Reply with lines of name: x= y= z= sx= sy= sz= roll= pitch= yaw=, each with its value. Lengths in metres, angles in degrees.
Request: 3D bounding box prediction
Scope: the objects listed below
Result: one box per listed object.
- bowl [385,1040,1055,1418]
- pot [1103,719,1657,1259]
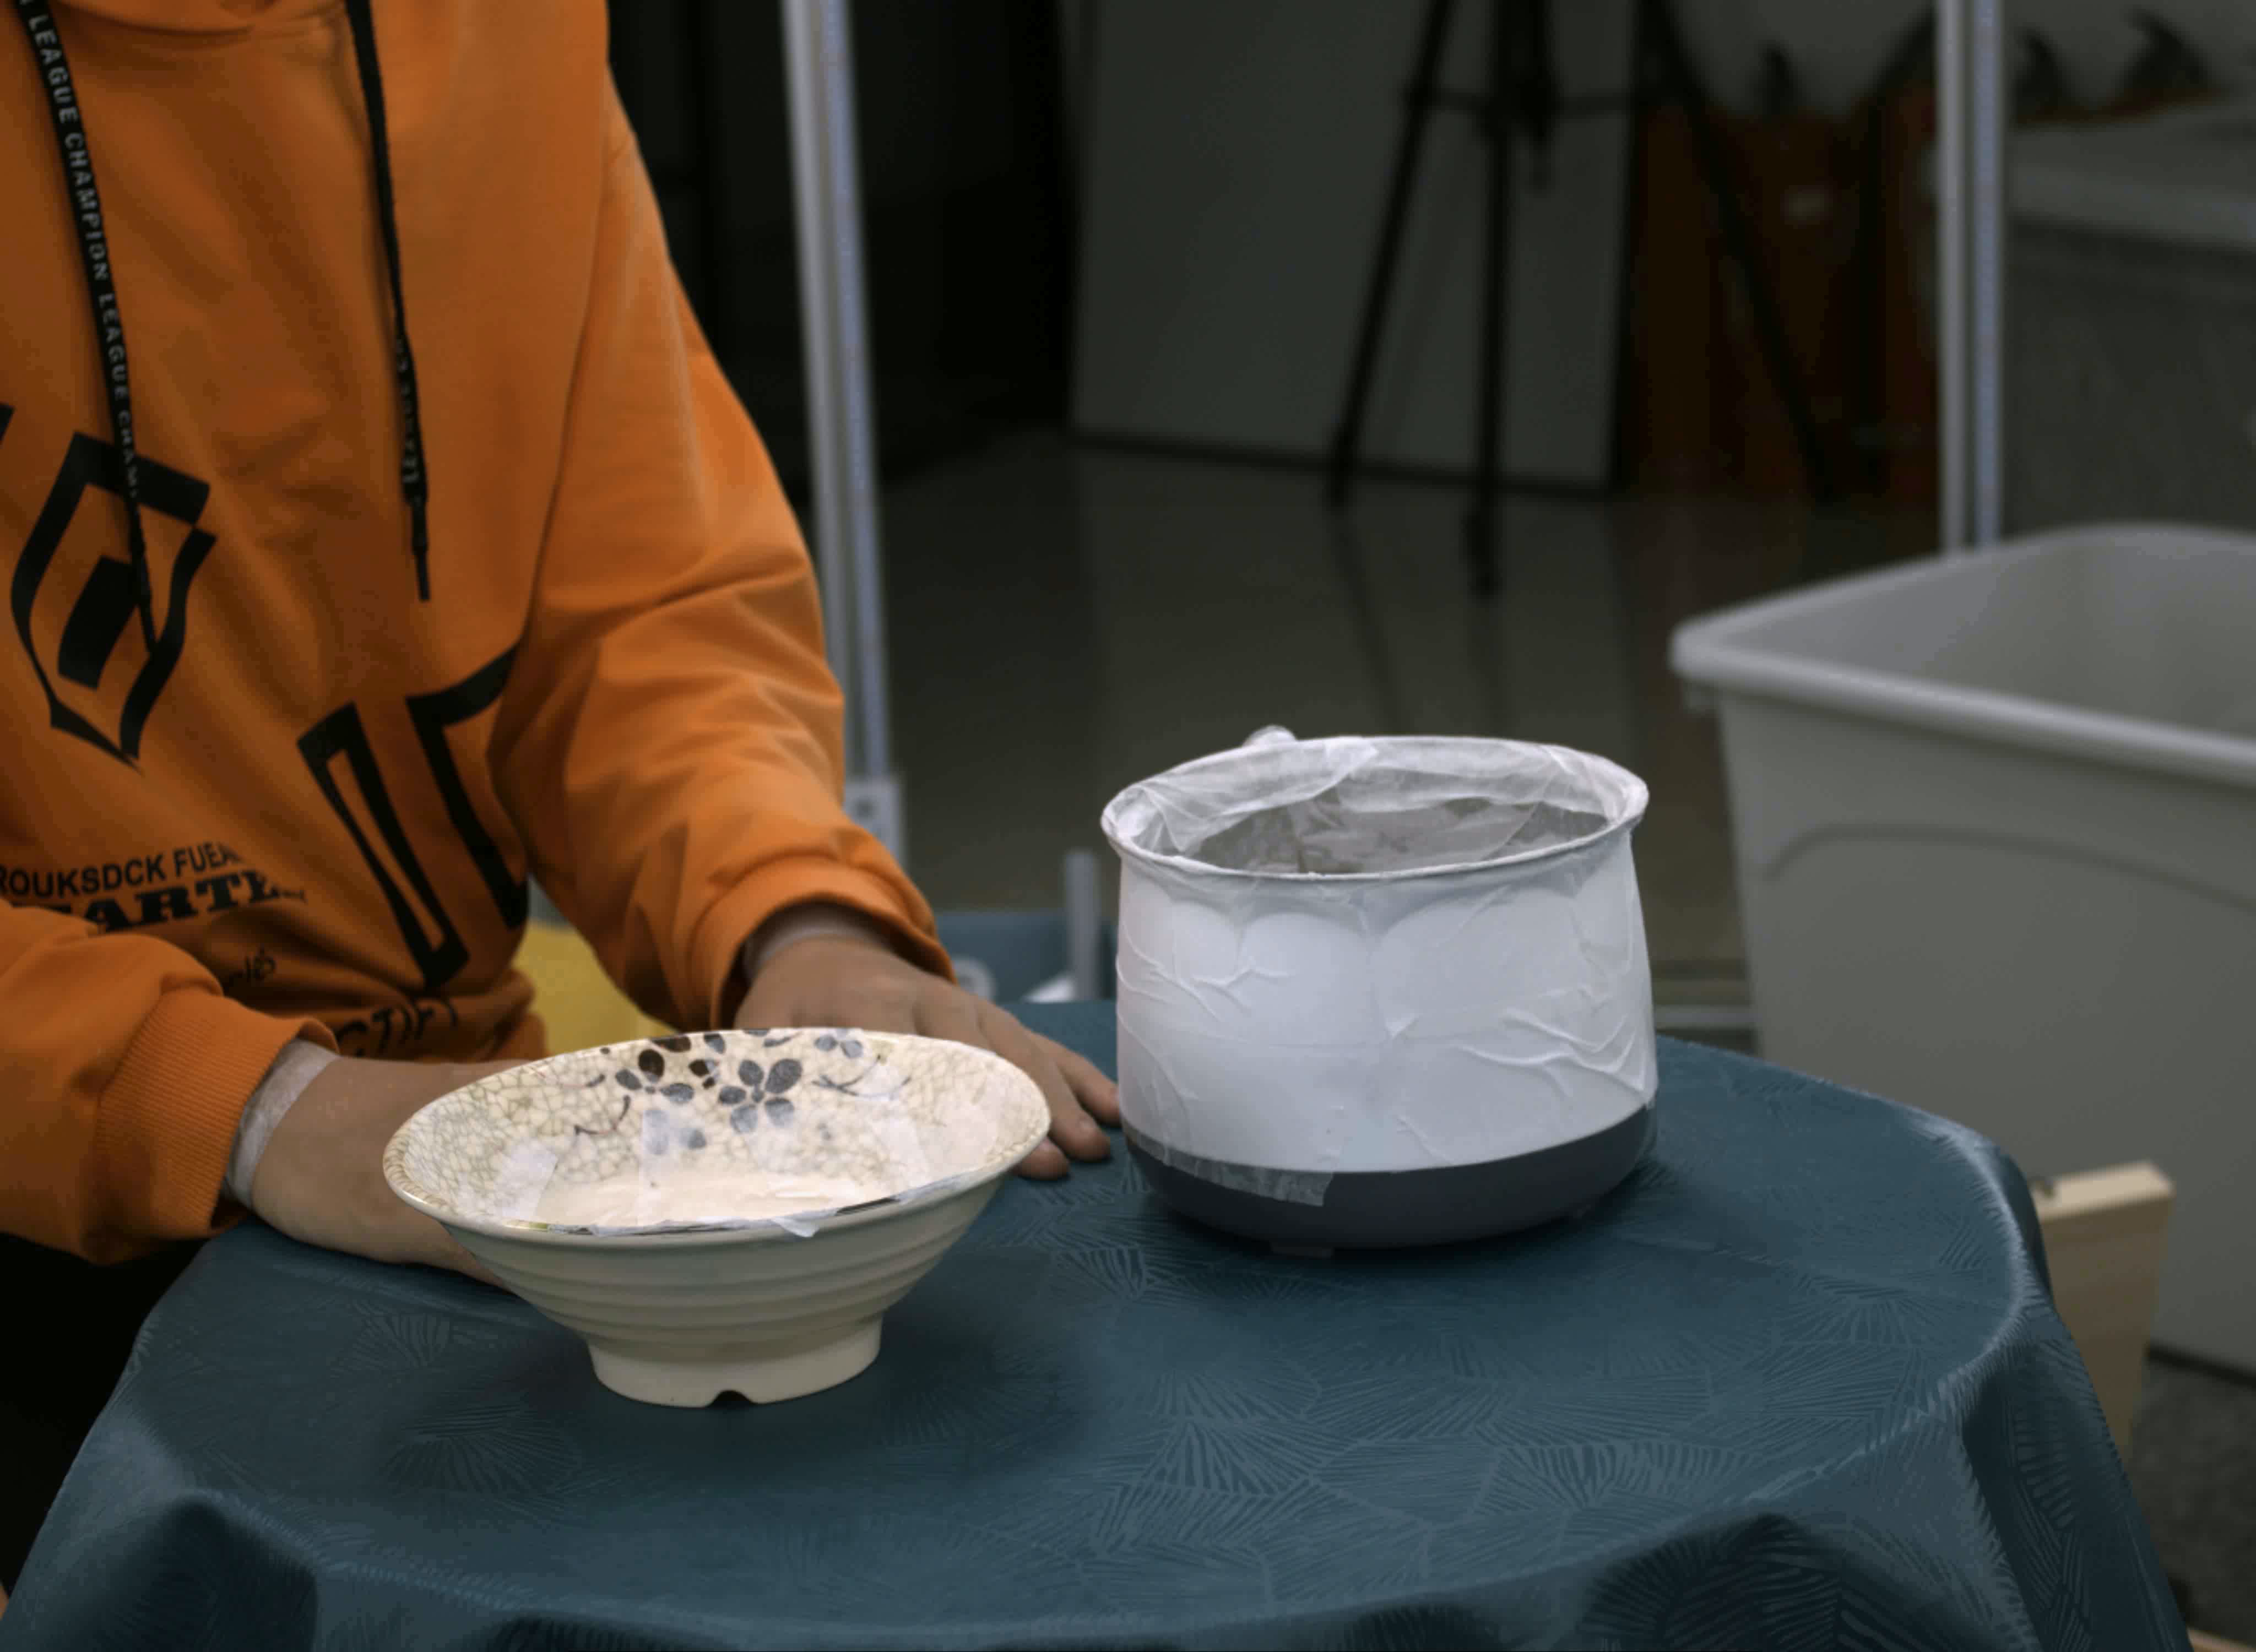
bowl: x=-0.118 y=0.127 z=1.626 sx=0.201 sy=0.079 sz=0.204 roll=-6 pitch=12 yaw=0
pot: x=0.073 y=0.047 z=1.762 sx=0.175 sy=0.138 sz=0.236 roll=-8 pitch=14 yaw=-17
